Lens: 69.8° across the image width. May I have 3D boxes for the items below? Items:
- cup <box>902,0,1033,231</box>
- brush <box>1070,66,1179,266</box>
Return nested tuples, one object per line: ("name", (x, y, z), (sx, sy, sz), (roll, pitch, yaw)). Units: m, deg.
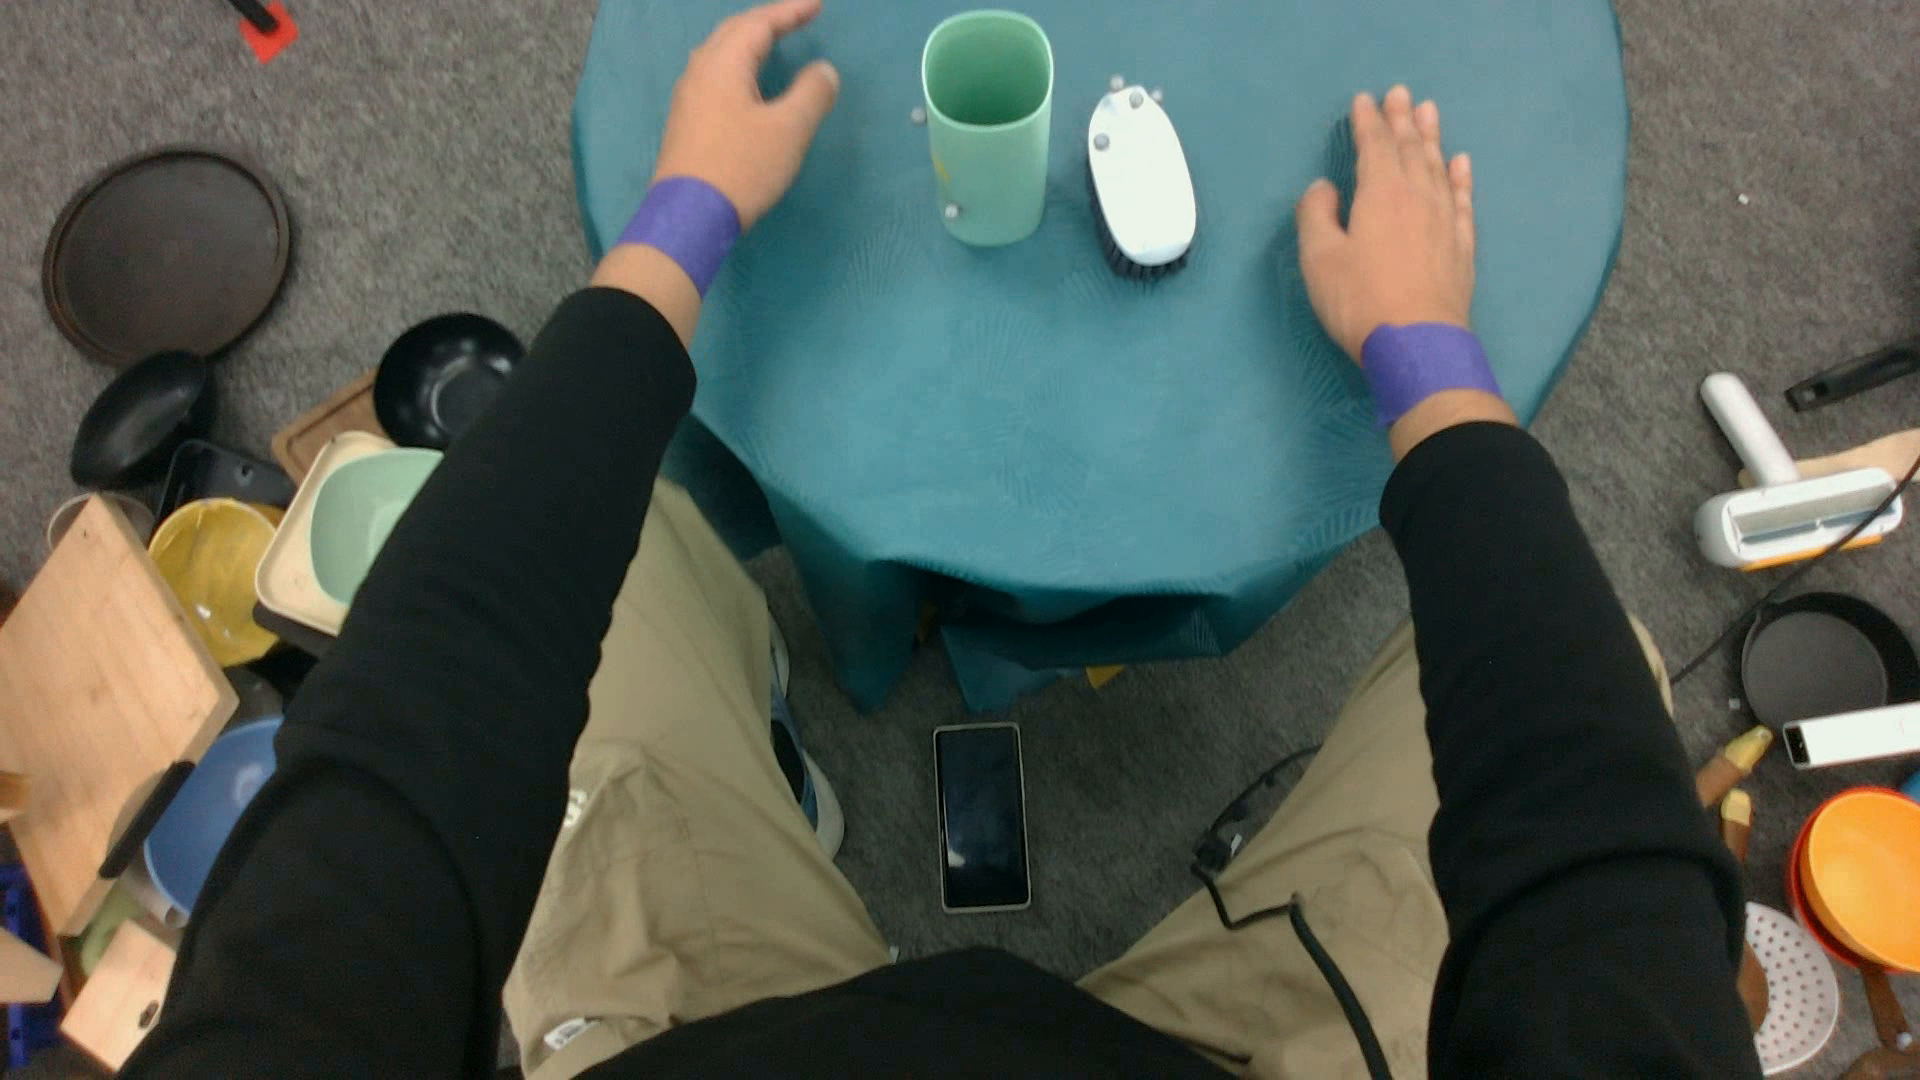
("cup", (0.006, -0.218, 0.718), (0.067, 0.132, 0.067), (0, 77, 1))
("brush", (0.090, -0.207, 0.738), (0.050, 0.072, 0.099), (-12, 76, 0))
